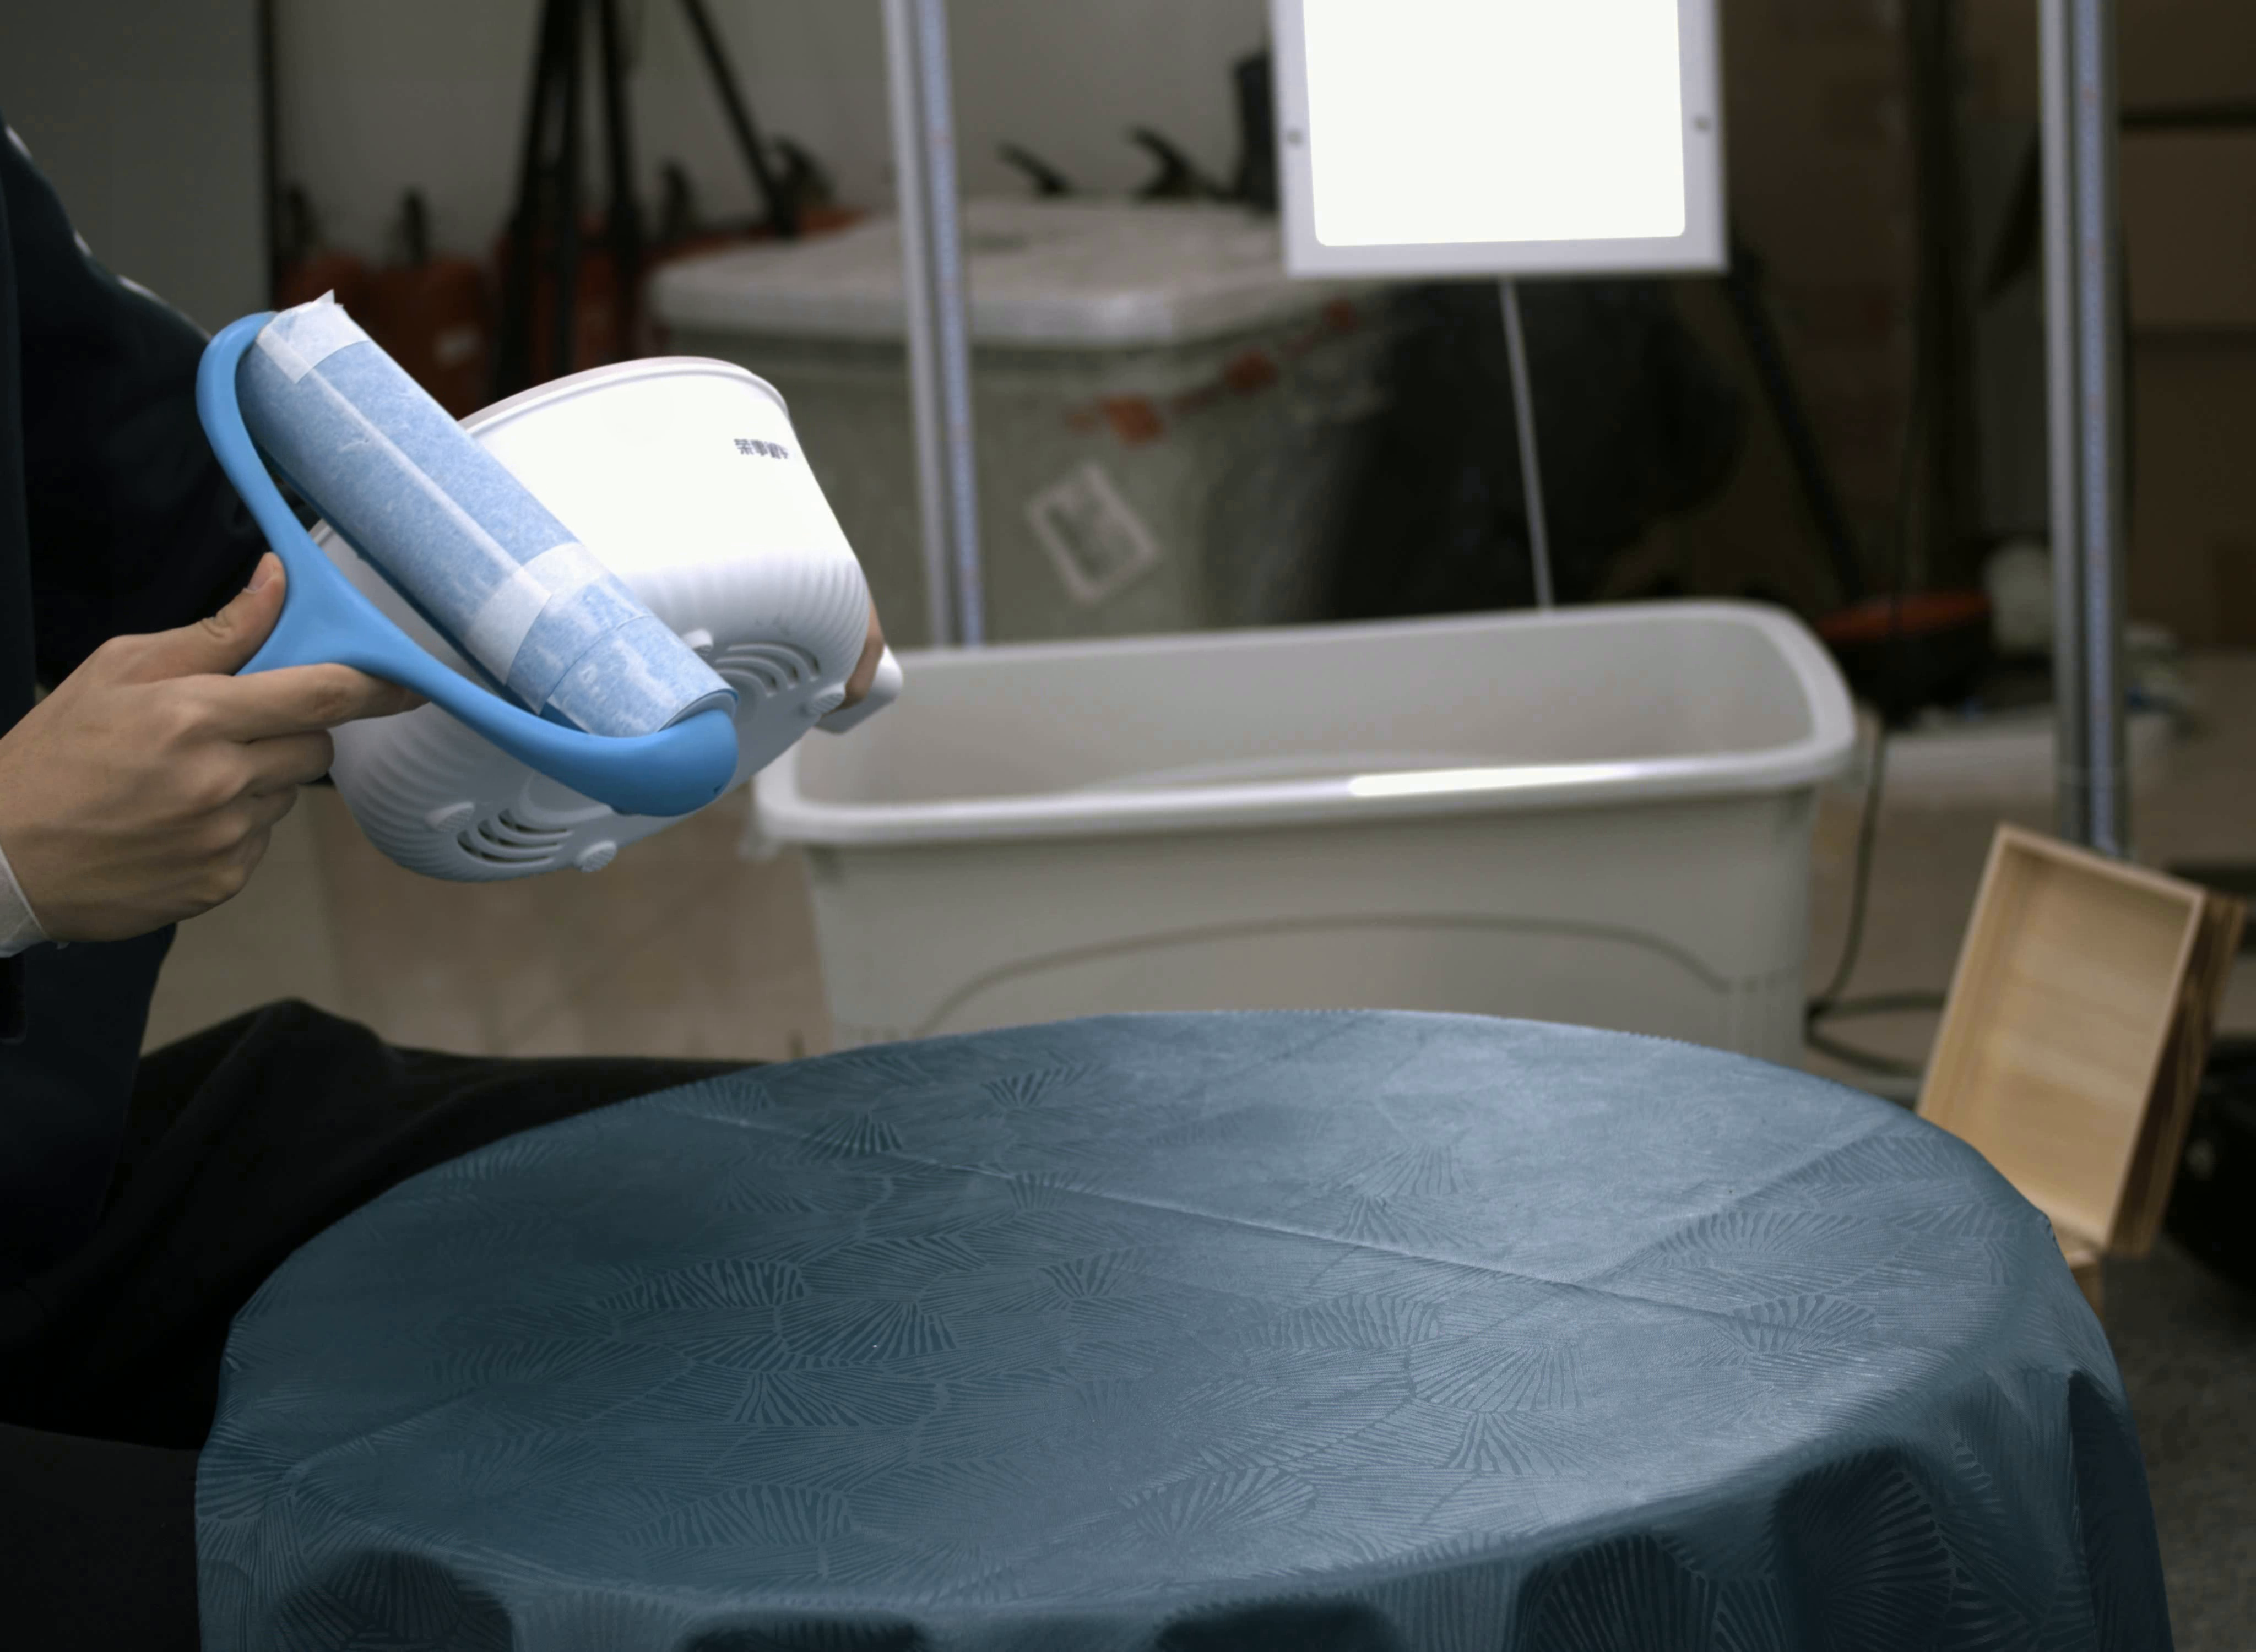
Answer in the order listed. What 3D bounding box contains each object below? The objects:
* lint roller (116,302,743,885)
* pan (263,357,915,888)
[{"bbox_3d":[-0.250,-0.051,1.756,0.230,0.068,0.178,41,69,15],"label":"lint roller"},{"bbox_3d":[-0.157,-0.051,1.963,0.203,0.103,0.348,-34,-20,16],"label":"pan"}]
